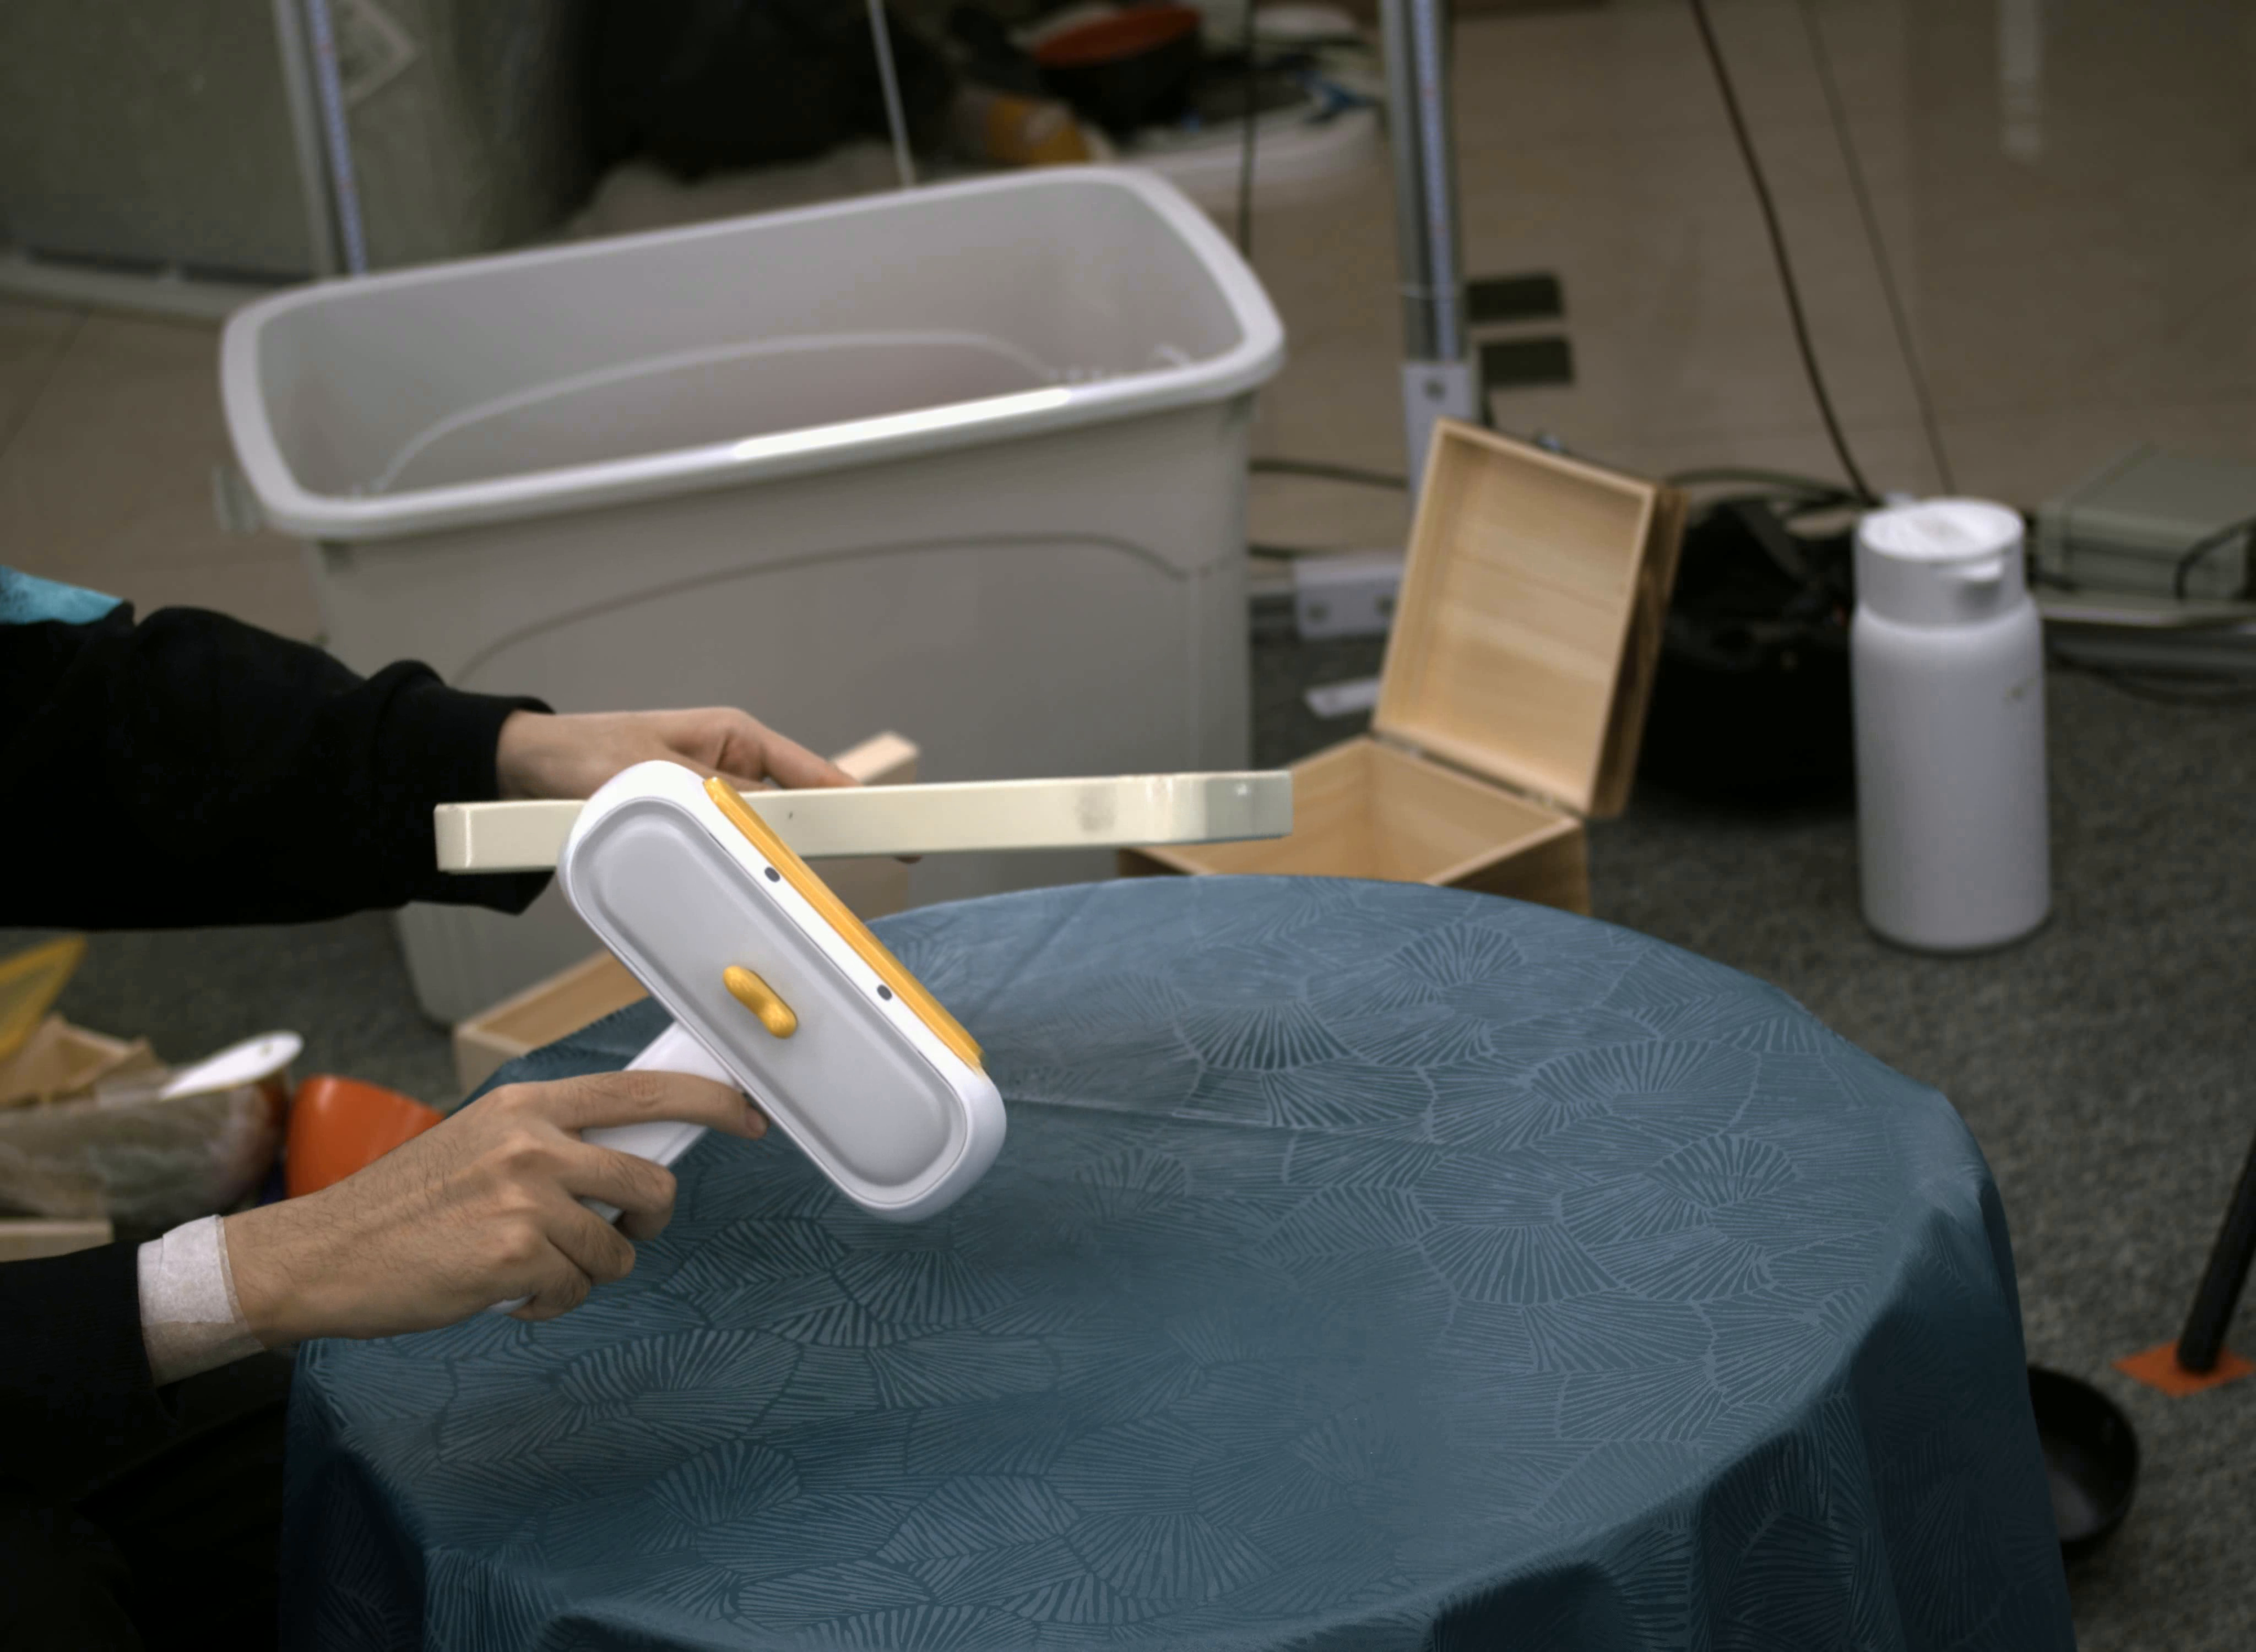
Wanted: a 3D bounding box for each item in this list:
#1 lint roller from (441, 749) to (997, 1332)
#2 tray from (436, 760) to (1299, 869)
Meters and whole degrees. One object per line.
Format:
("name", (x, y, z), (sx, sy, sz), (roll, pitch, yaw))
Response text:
("lint roller", (-0.168, 0.098, 1.996), (0.192, 0.193, 0.074), (-47, 5, 2))
("tray", (-0.097, -0.004, 2.174), (0.300, 0.027, 0.191), (-3, -1, 14))
